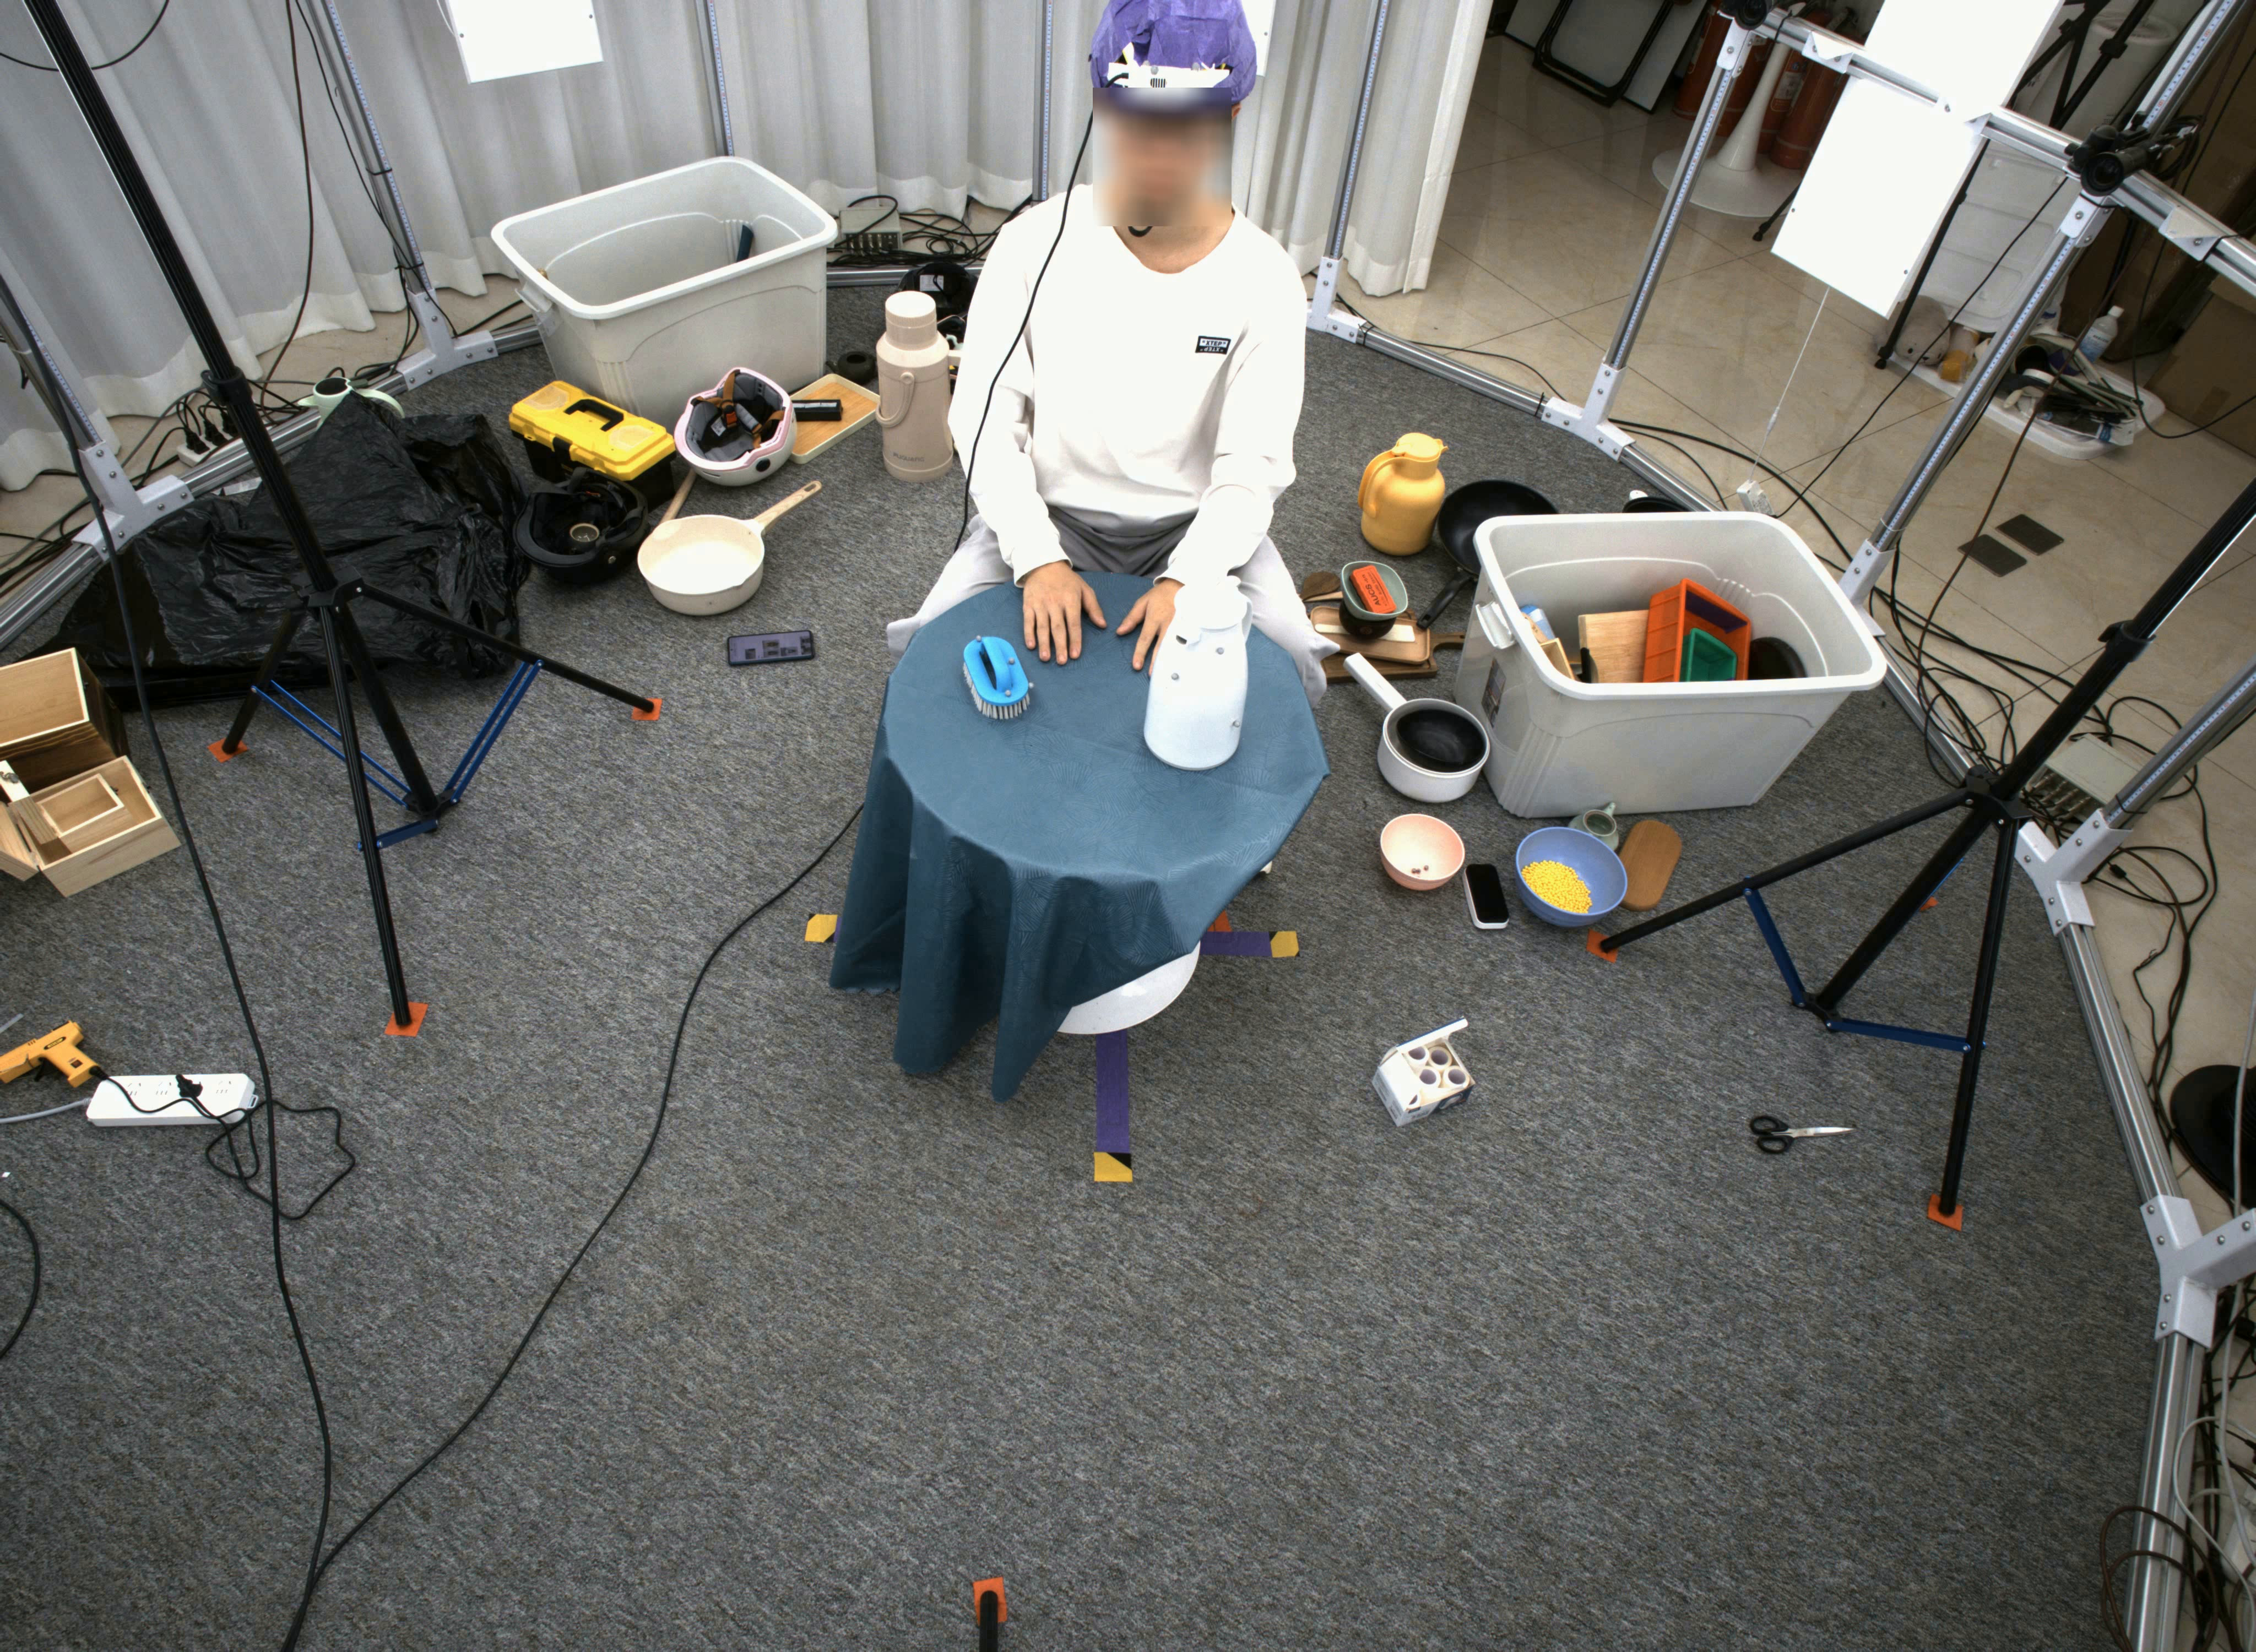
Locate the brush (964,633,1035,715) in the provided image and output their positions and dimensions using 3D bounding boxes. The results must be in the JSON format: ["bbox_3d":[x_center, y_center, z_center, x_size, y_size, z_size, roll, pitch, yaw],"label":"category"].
[{"bbox_3d":[-0.183,-0.224,1.803,0.084,0.062,0.145,-14,50,-10],"label":"brush"}]

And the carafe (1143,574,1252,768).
[{"bbox_3d":[0.105,-0.218,1.700,0.134,0.242,0.170,30,53,20],"label":"carafe"}]
